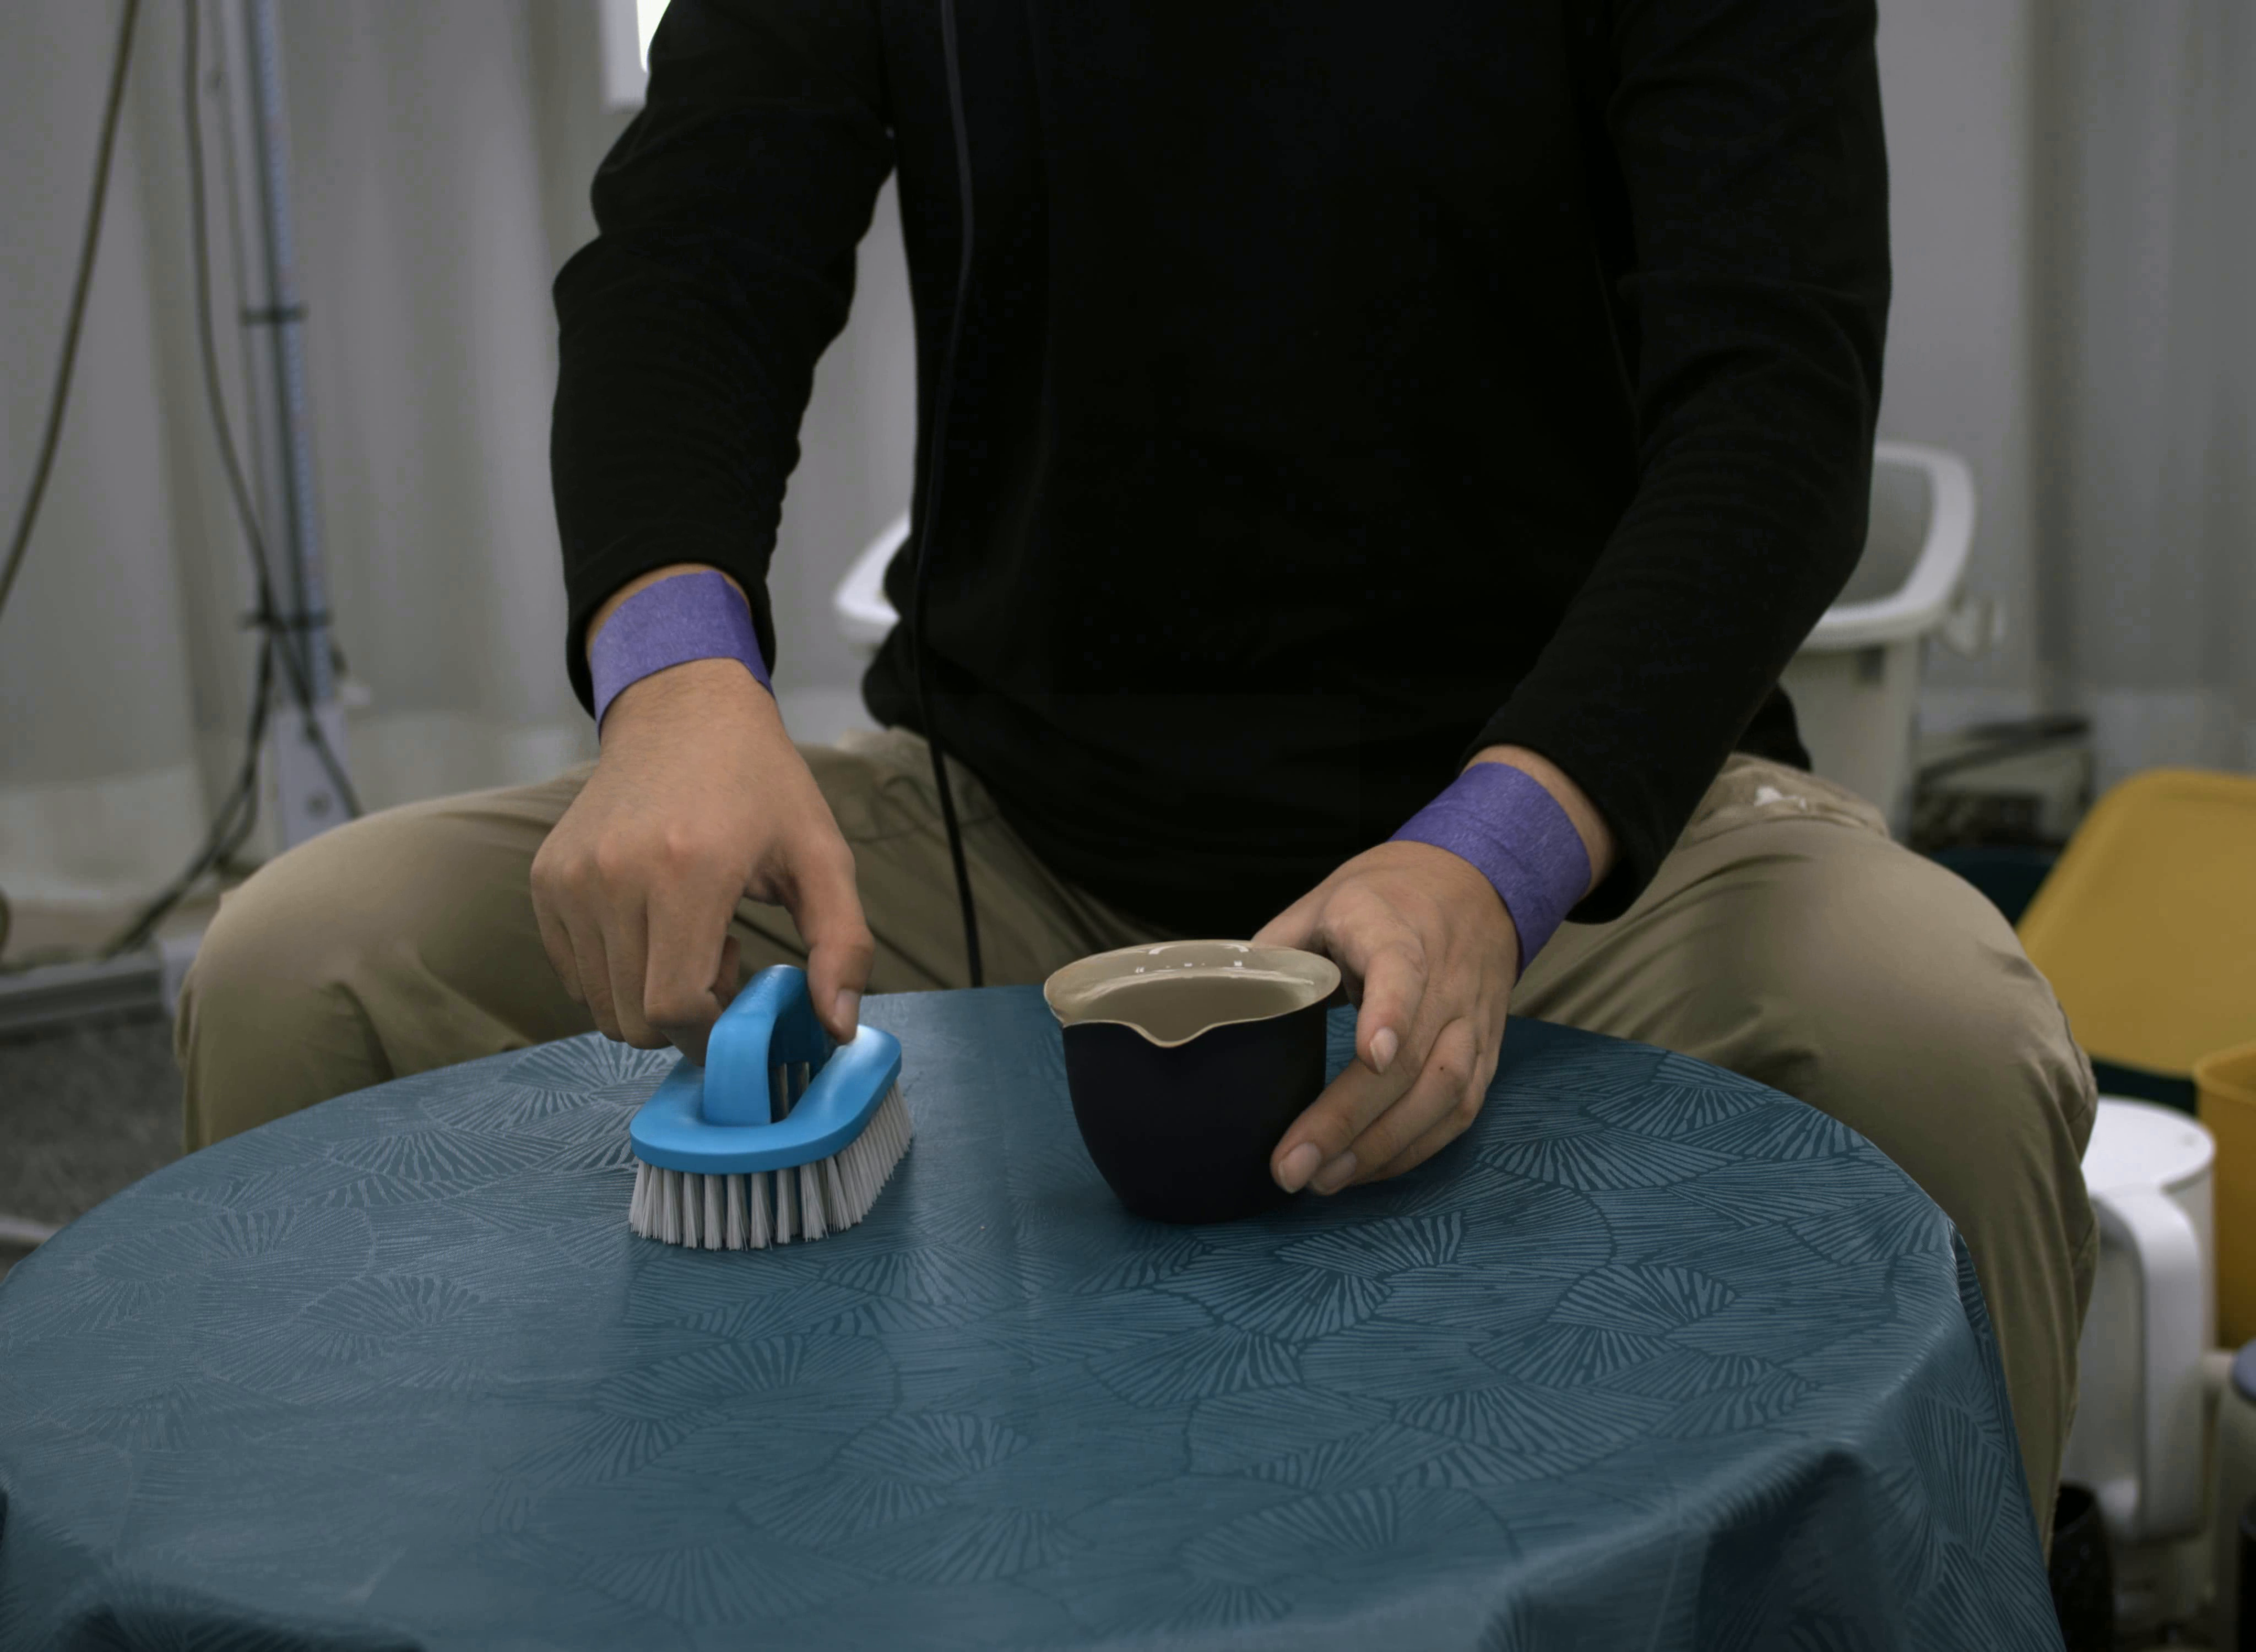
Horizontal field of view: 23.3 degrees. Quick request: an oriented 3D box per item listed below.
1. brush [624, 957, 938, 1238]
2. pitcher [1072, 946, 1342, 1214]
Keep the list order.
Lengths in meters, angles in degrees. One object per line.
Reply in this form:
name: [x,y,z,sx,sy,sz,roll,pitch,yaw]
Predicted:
brush: [-0.112,0.080,1.738,0.084,0.063,0.142,-4,13,12]
pitcher: [0.024,0.080,1.694,0.083,0.071,0.096,2,17,15]
